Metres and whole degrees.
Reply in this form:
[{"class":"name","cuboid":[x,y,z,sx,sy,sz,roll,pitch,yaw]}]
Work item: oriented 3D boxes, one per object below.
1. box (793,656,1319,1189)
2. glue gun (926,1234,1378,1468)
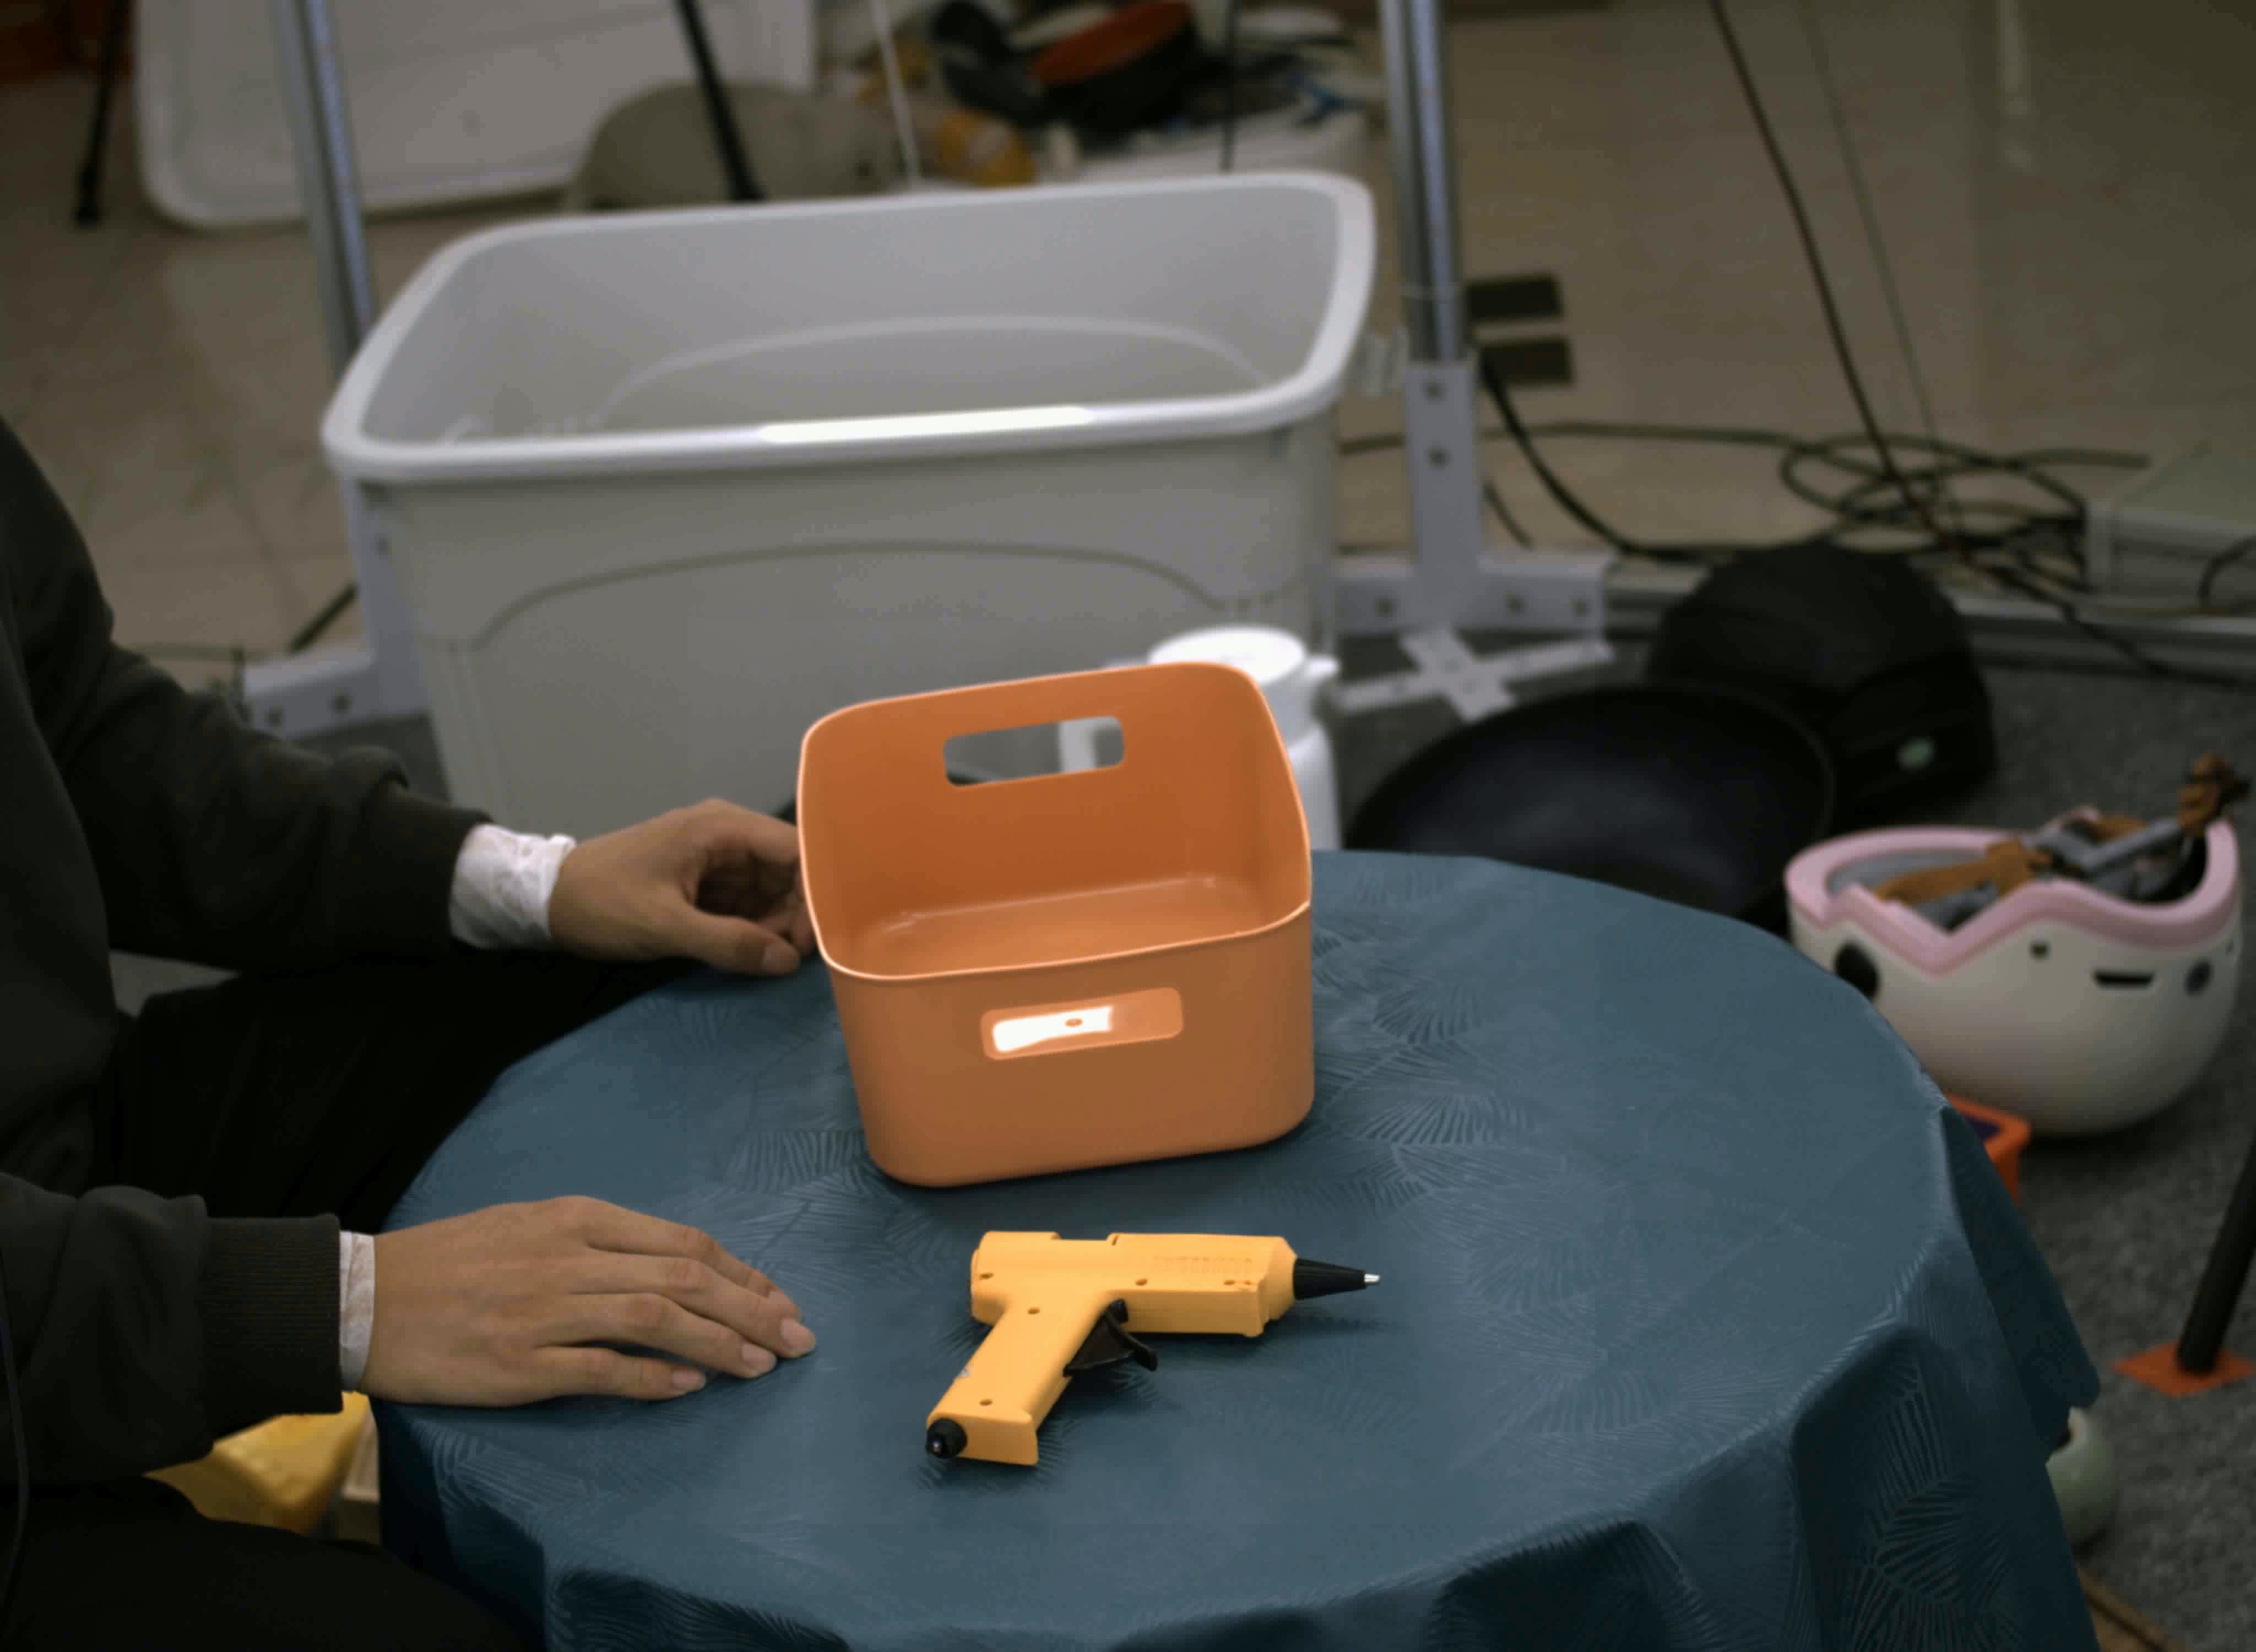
[{"class":"box","cuboid":[-0.028,0.038,2.249,0.199,0.104,0.269,-8,26,-3]},{"class":"glue gun","cuboid":[0.011,0.185,2.018,0.151,0.031,0.131,-2,27,9]}]
